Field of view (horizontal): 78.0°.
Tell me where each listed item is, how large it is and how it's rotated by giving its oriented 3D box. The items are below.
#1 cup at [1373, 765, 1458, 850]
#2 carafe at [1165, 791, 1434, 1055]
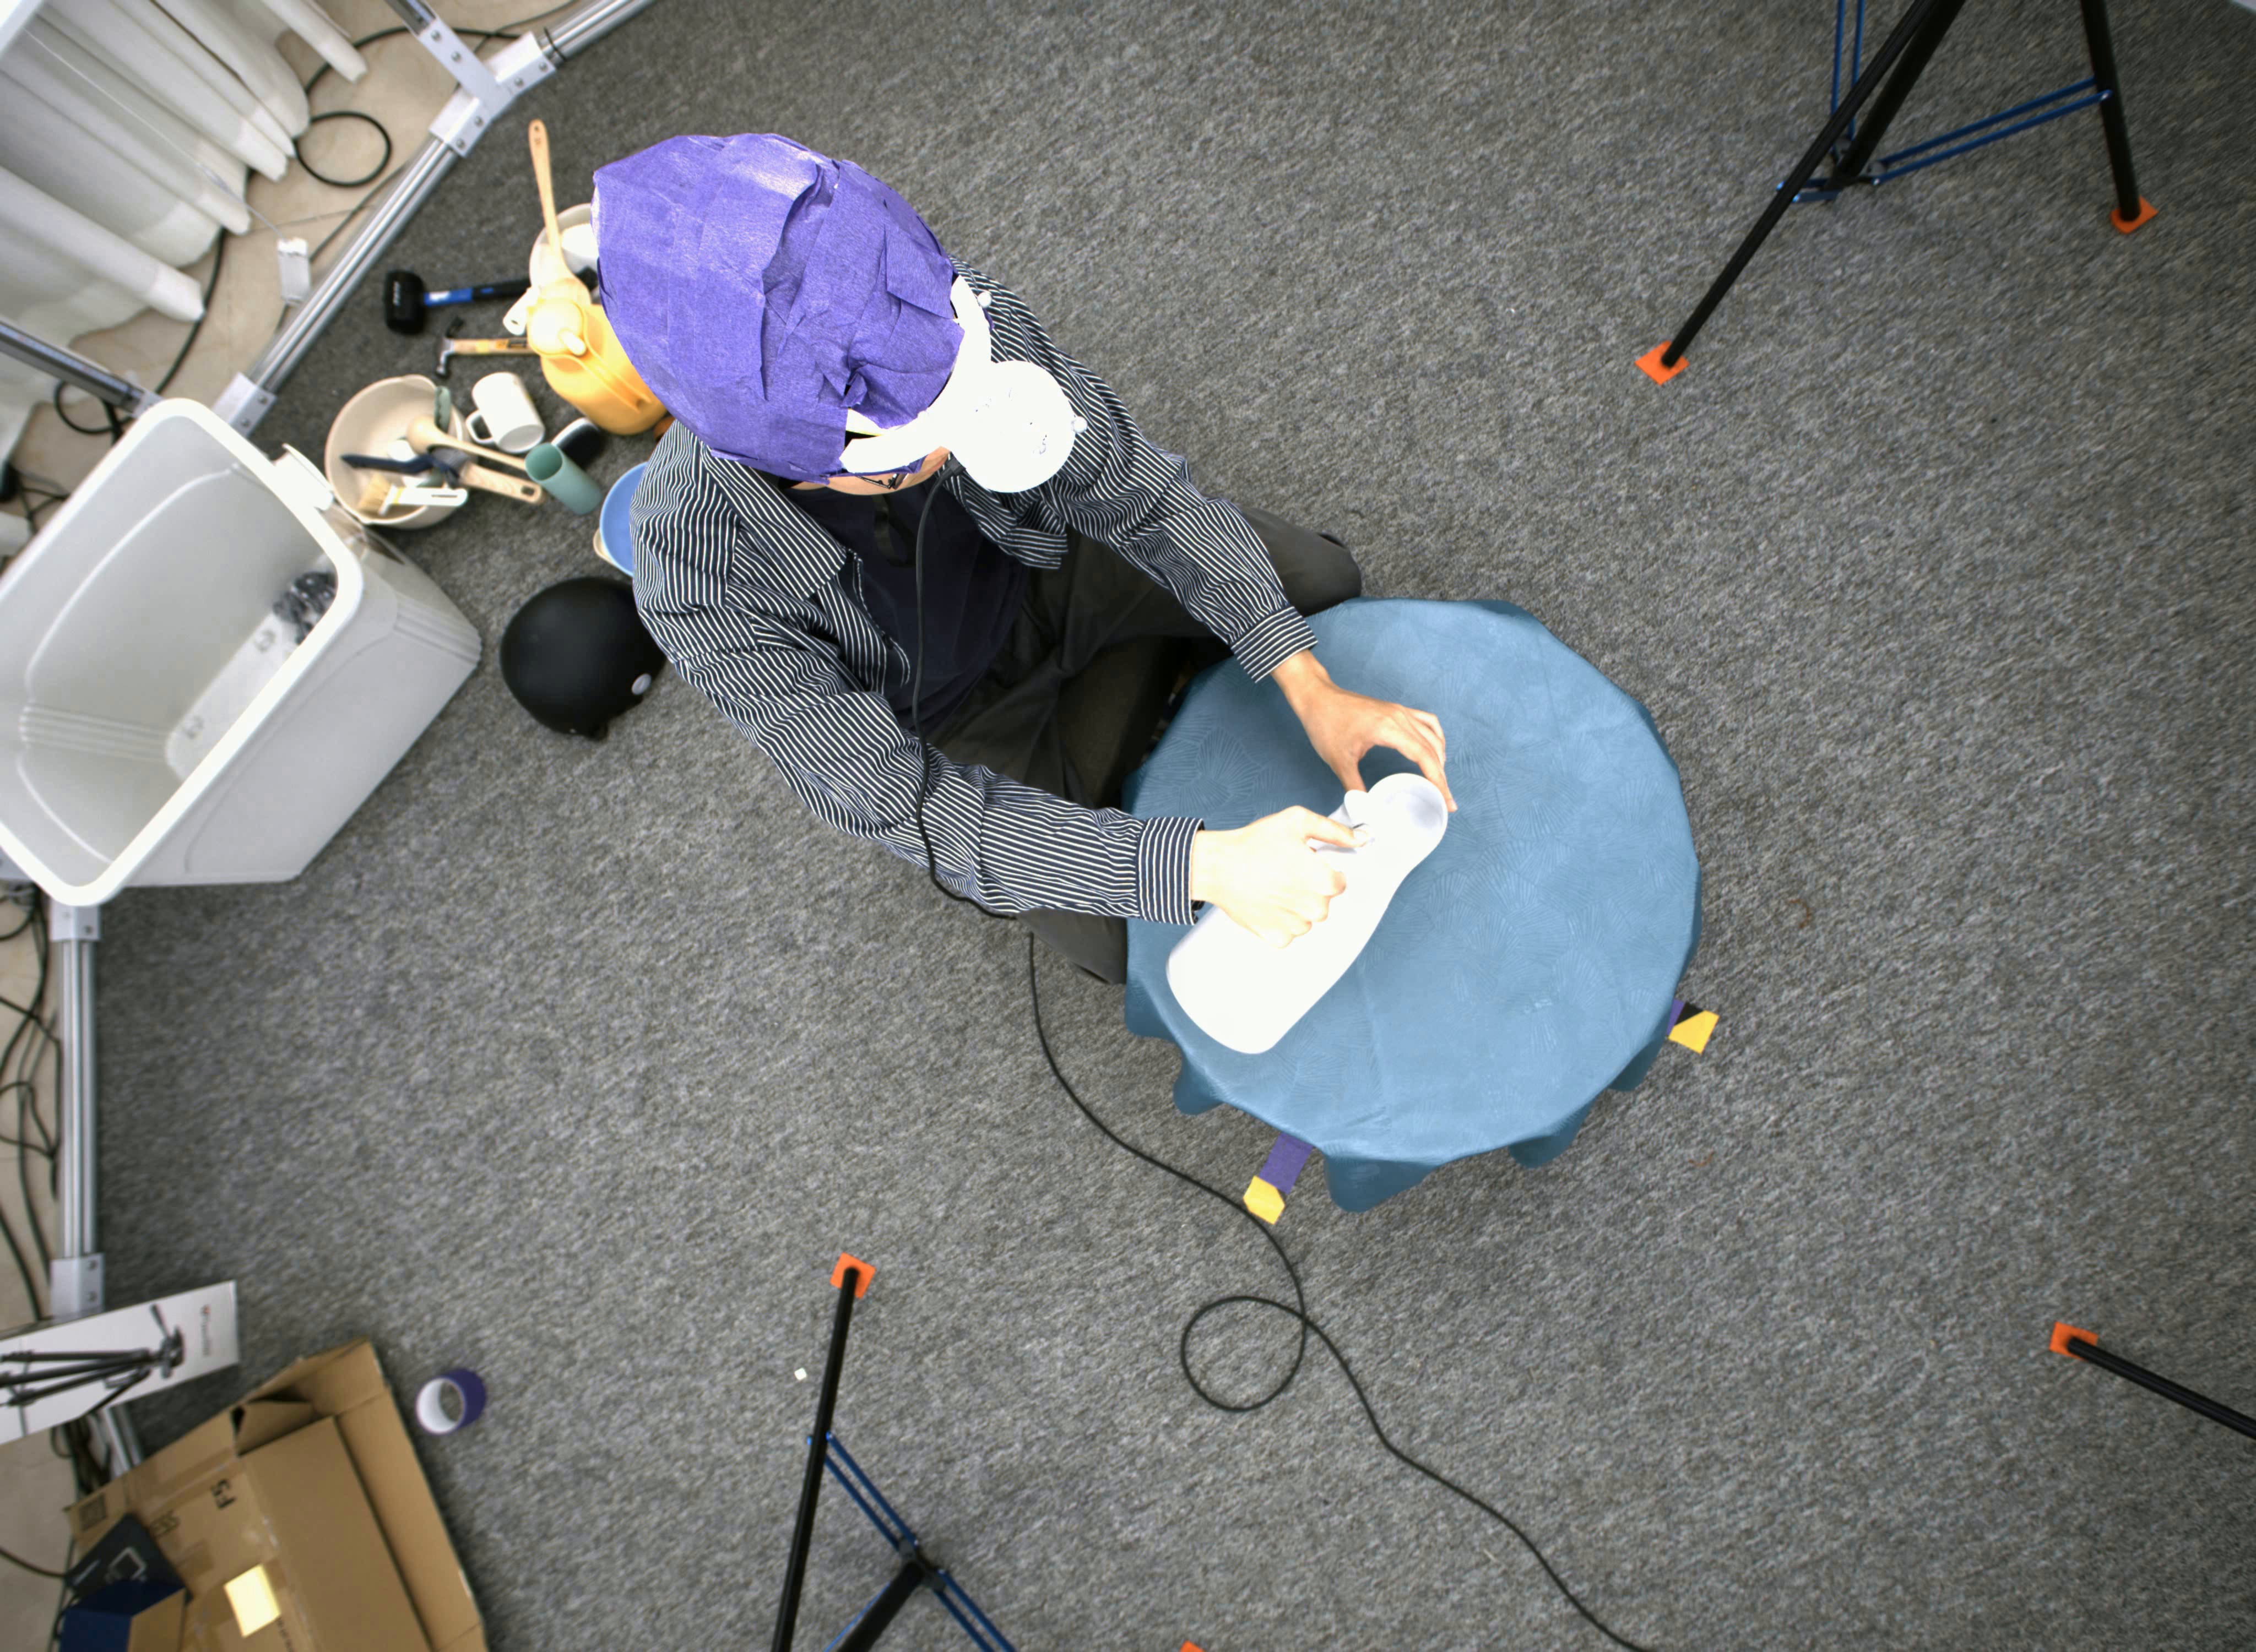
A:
[{"bbox_3d":[0.283,-0.015,1.353,0.082,0.125,0.081,-1,87,13],"label":"cup"},{"bbox_3d":[0.153,0.084,1.231,0.132,0.165,0.253,49,117,11],"label":"carafe"}]
